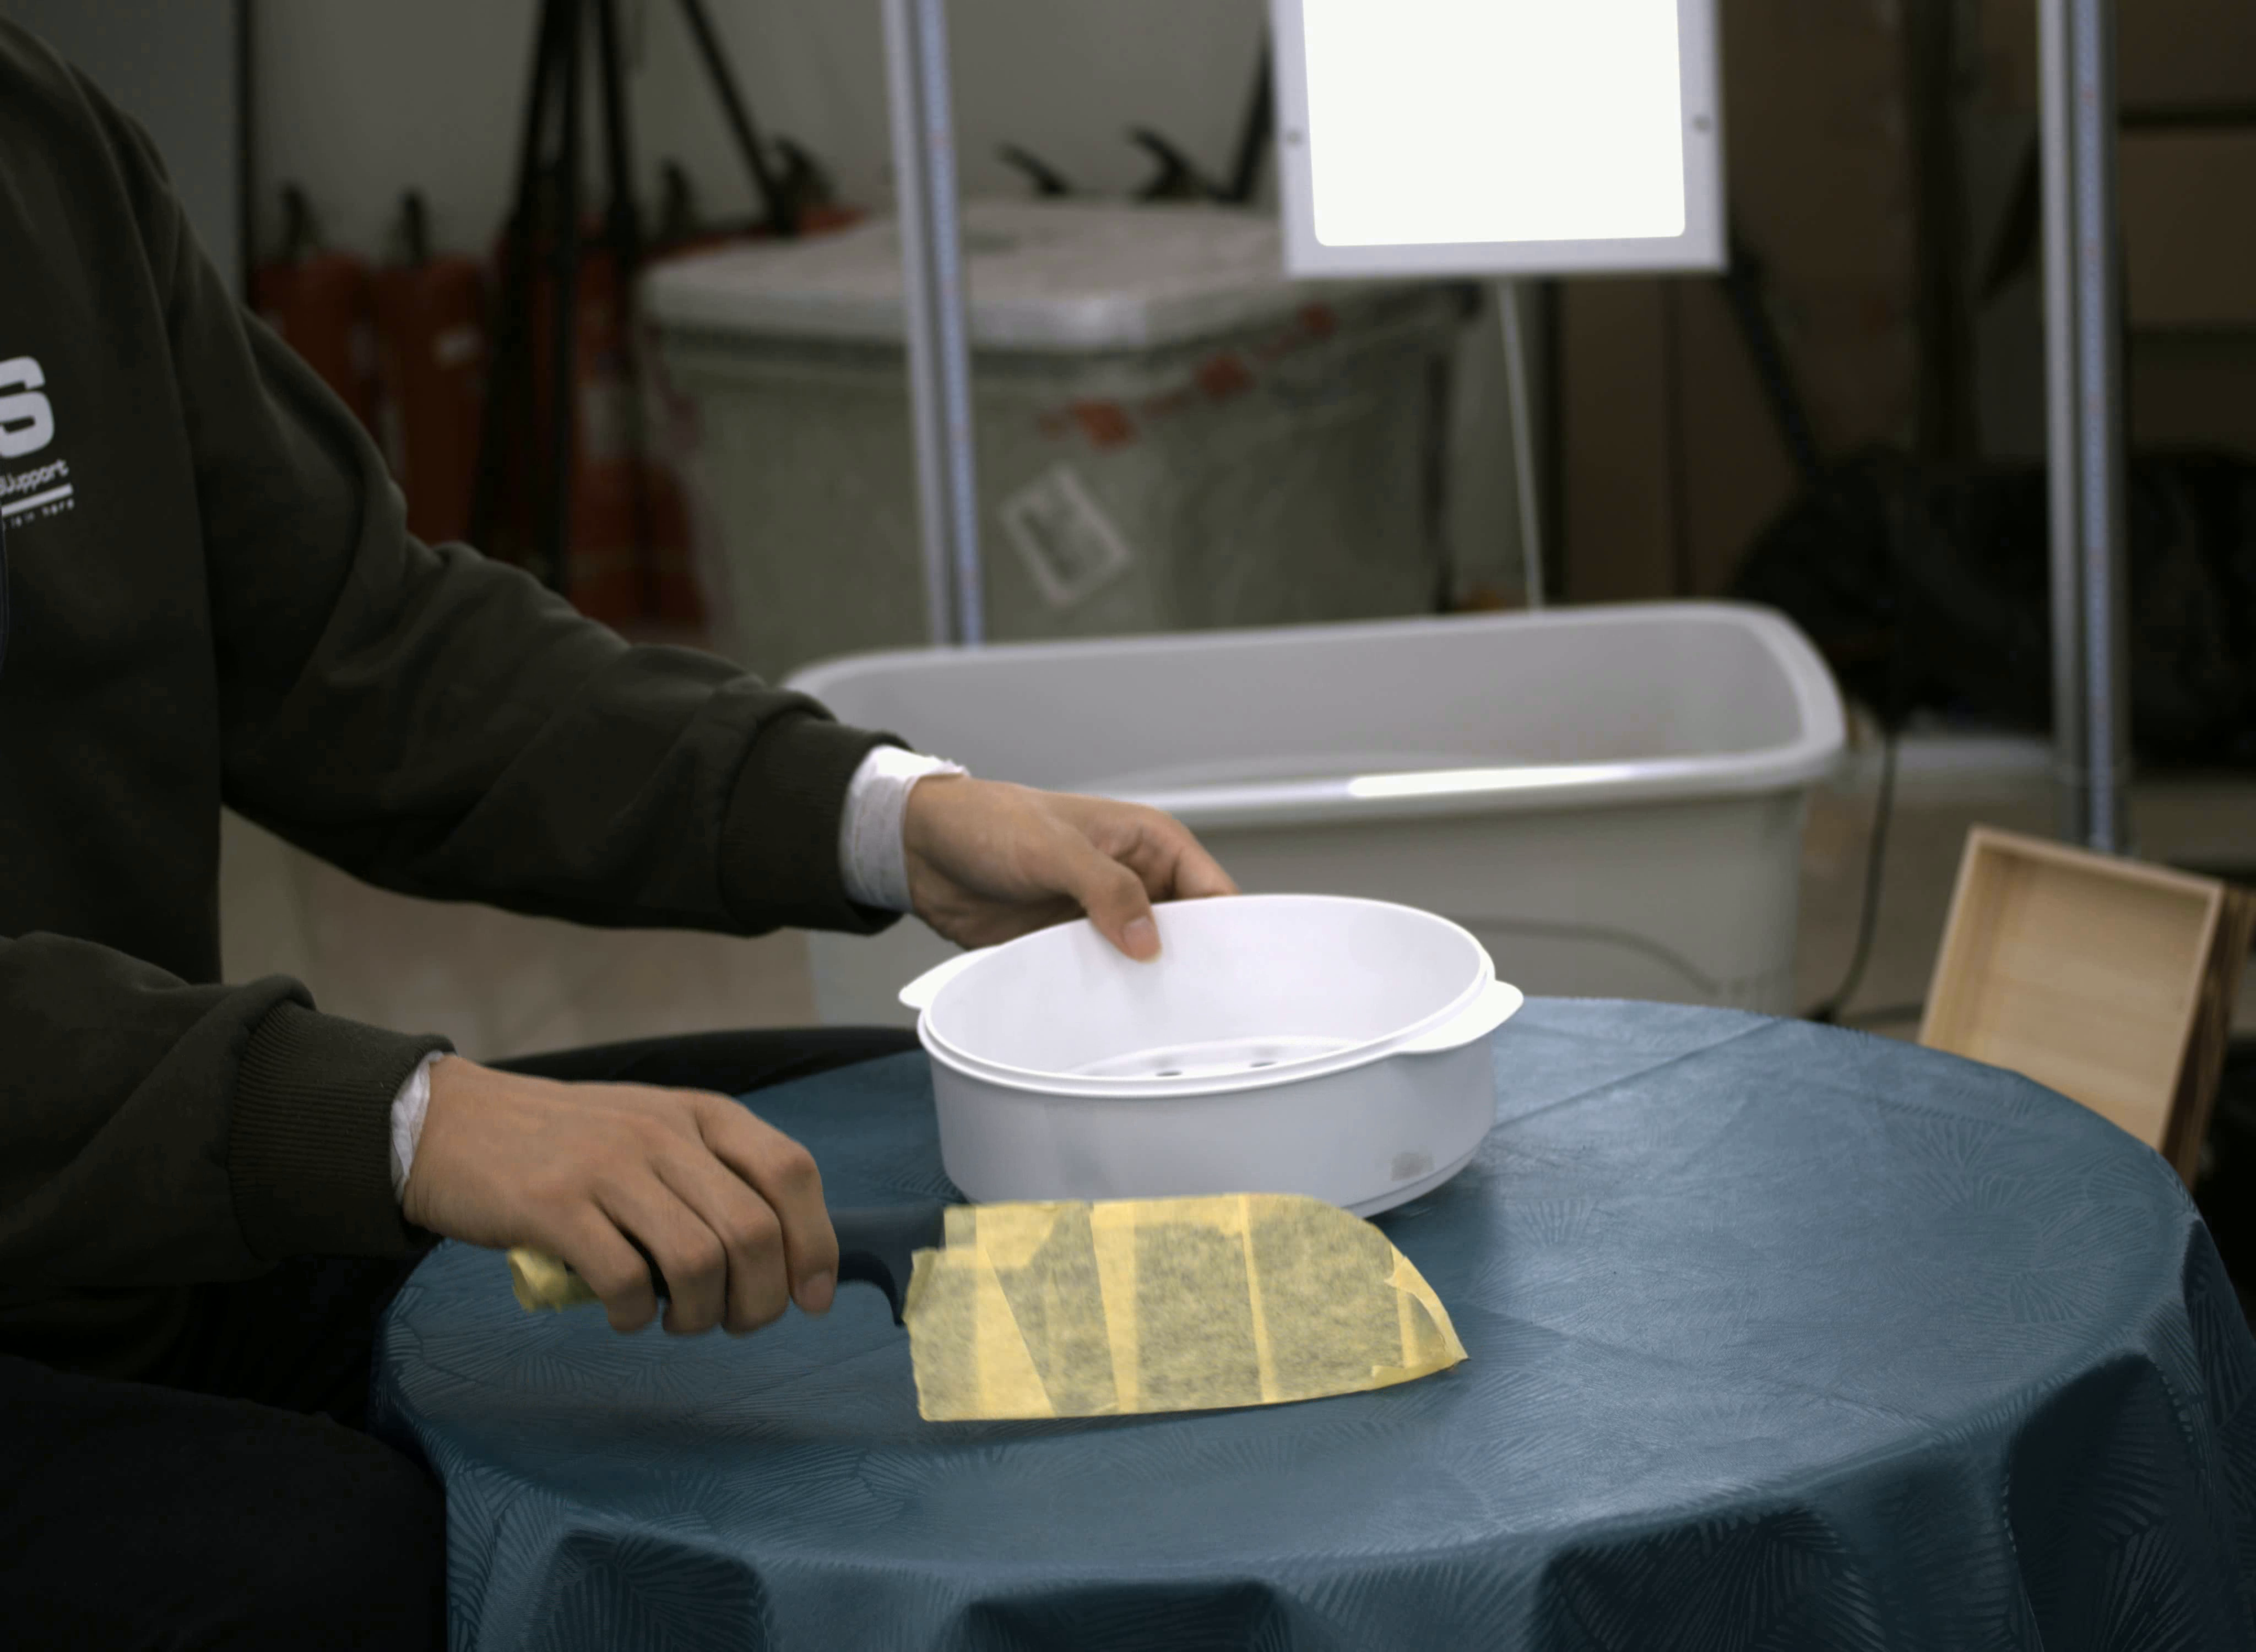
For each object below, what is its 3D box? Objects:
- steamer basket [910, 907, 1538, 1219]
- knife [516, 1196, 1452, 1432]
[{"bbox_3d":[0.034,0.086,1.902,0.235,0.069,0.197,2,17,32],"label":"steamer basket"},{"bbox_3d":[-0.042,0.150,1.689,0.287,0.027,0.081,-1,54,-4],"label":"knife"}]
